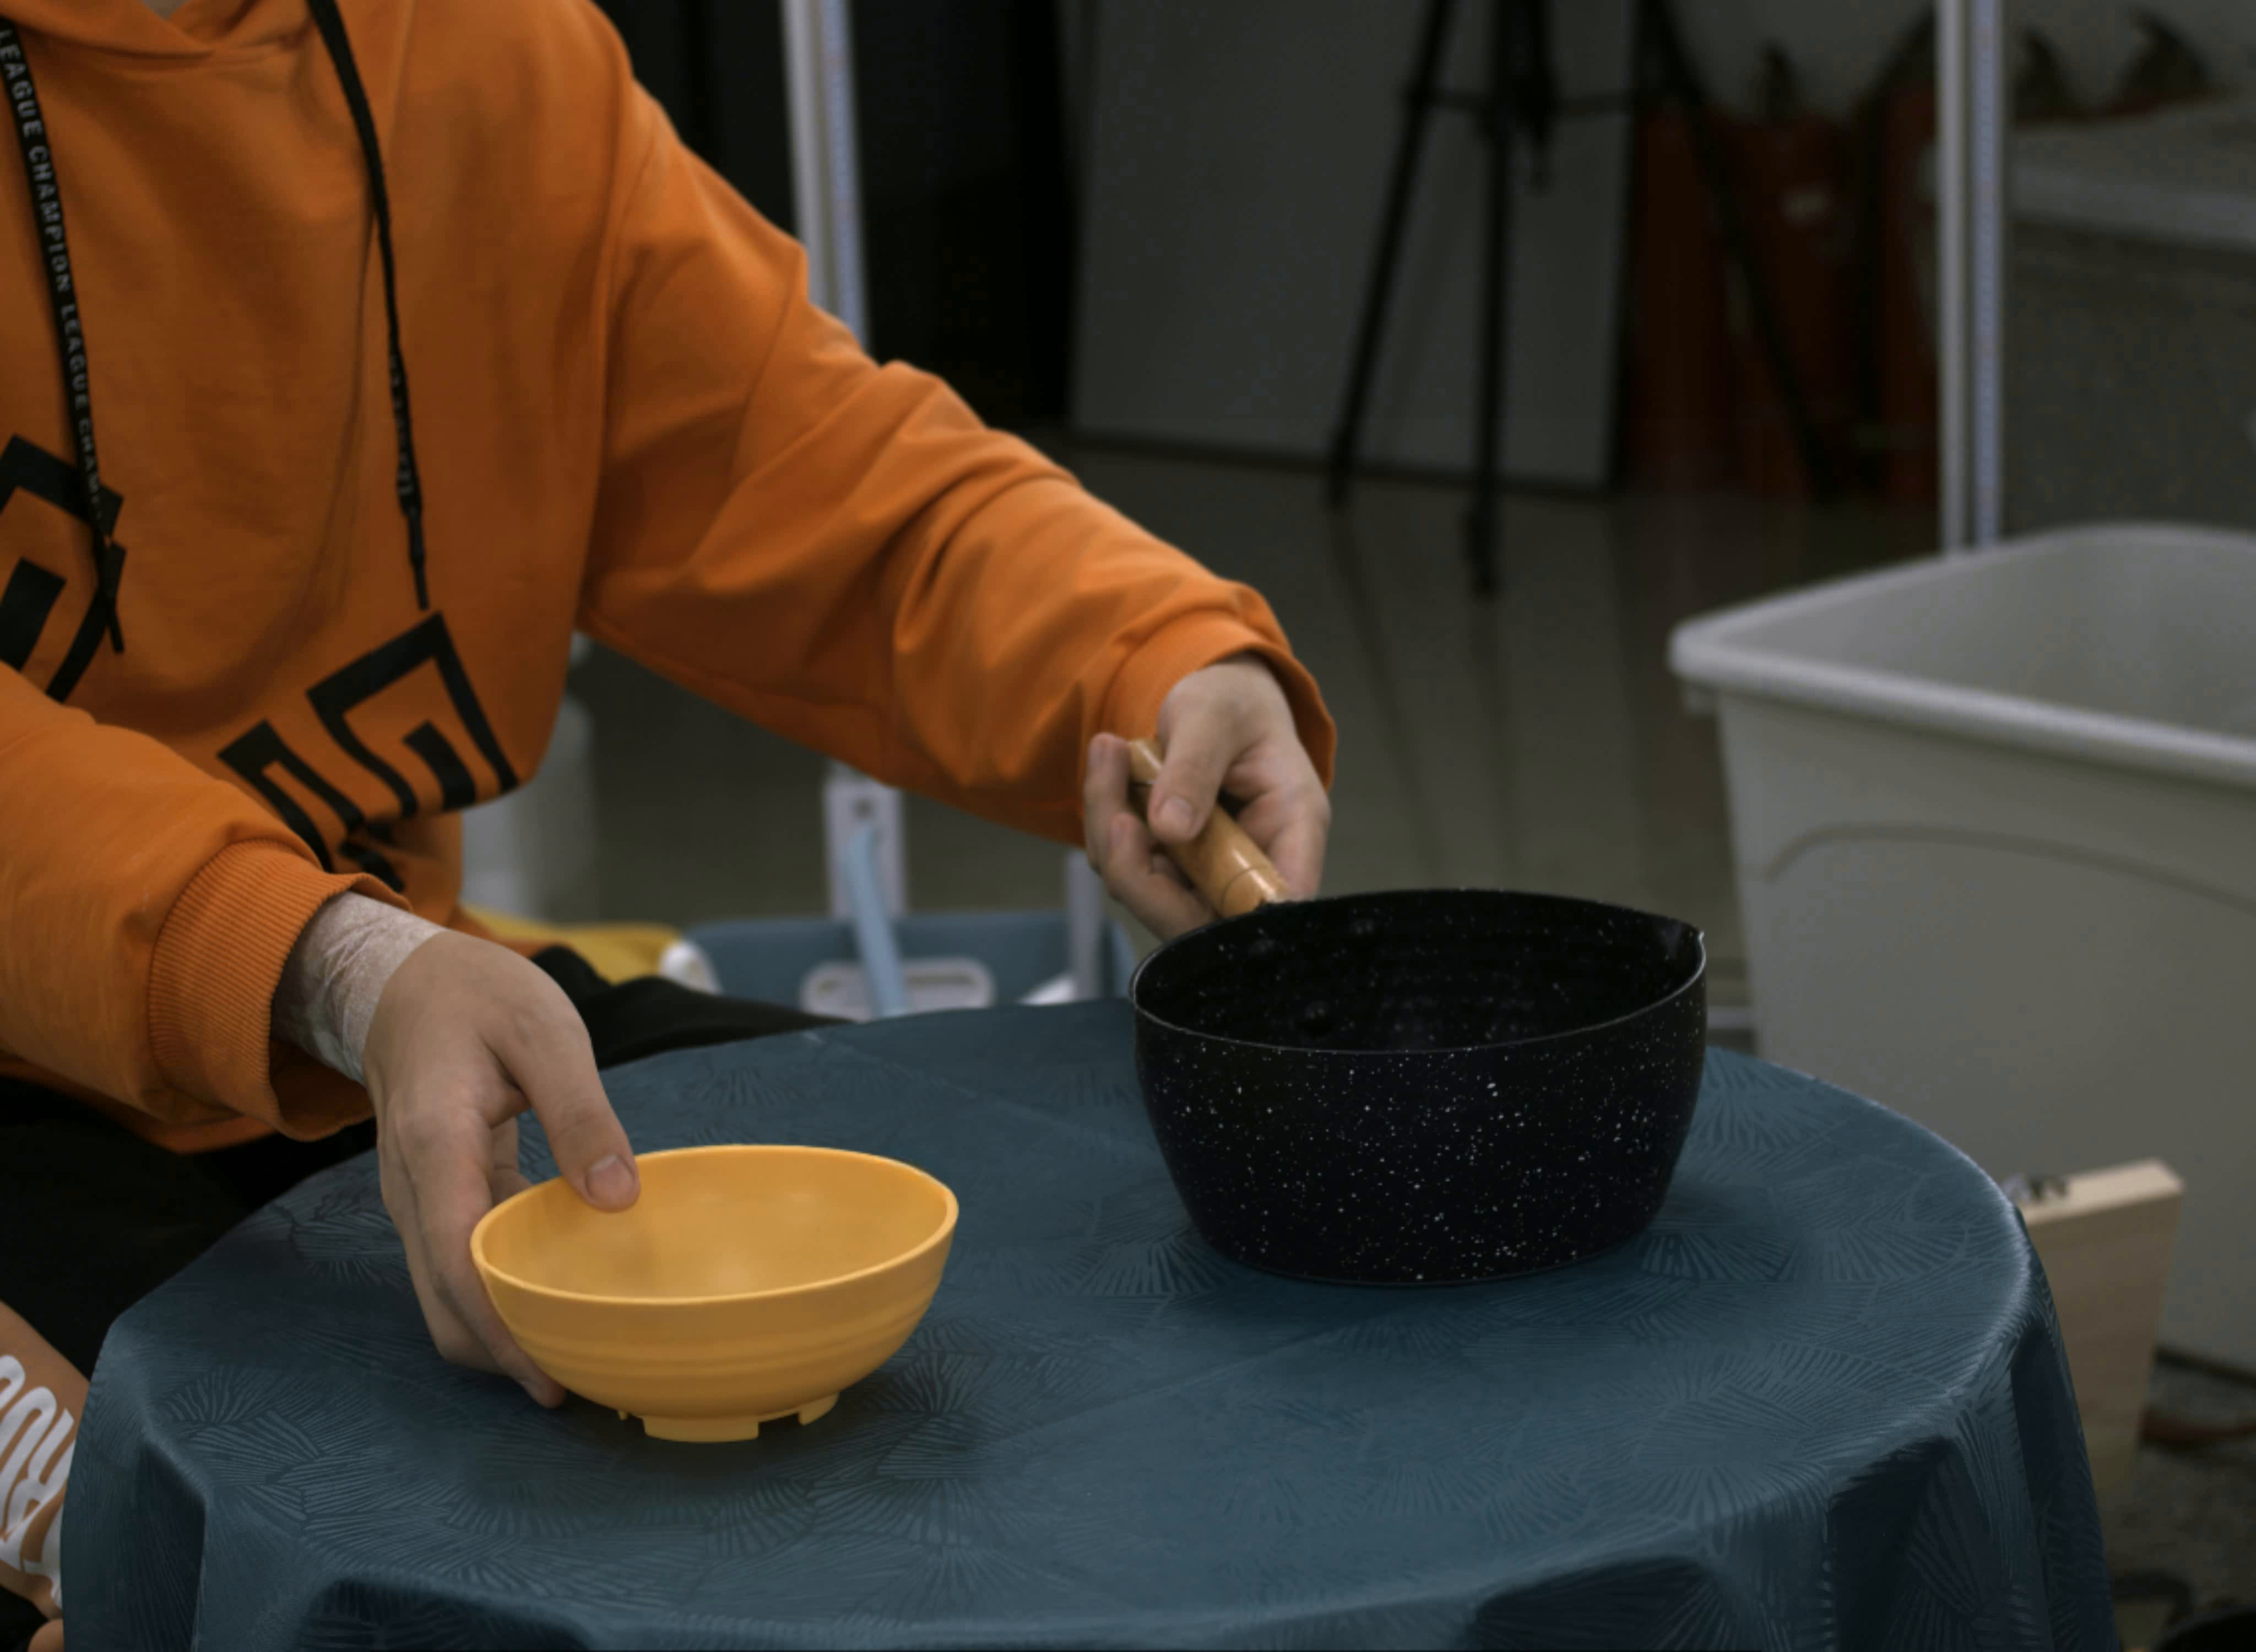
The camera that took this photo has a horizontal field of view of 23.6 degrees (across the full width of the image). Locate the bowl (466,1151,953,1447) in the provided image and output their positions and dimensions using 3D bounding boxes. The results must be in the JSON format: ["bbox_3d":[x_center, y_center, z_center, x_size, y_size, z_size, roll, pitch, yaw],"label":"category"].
[{"bbox_3d":[-0.121,0.144,1.592,0.143,0.061,0.145,-3,13,0],"label":"bowl"}]

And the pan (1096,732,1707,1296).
[{"bbox_3d":[0.064,0.057,1.787,0.203,0.109,0.346,-10,16,-19],"label":"pan"}]
